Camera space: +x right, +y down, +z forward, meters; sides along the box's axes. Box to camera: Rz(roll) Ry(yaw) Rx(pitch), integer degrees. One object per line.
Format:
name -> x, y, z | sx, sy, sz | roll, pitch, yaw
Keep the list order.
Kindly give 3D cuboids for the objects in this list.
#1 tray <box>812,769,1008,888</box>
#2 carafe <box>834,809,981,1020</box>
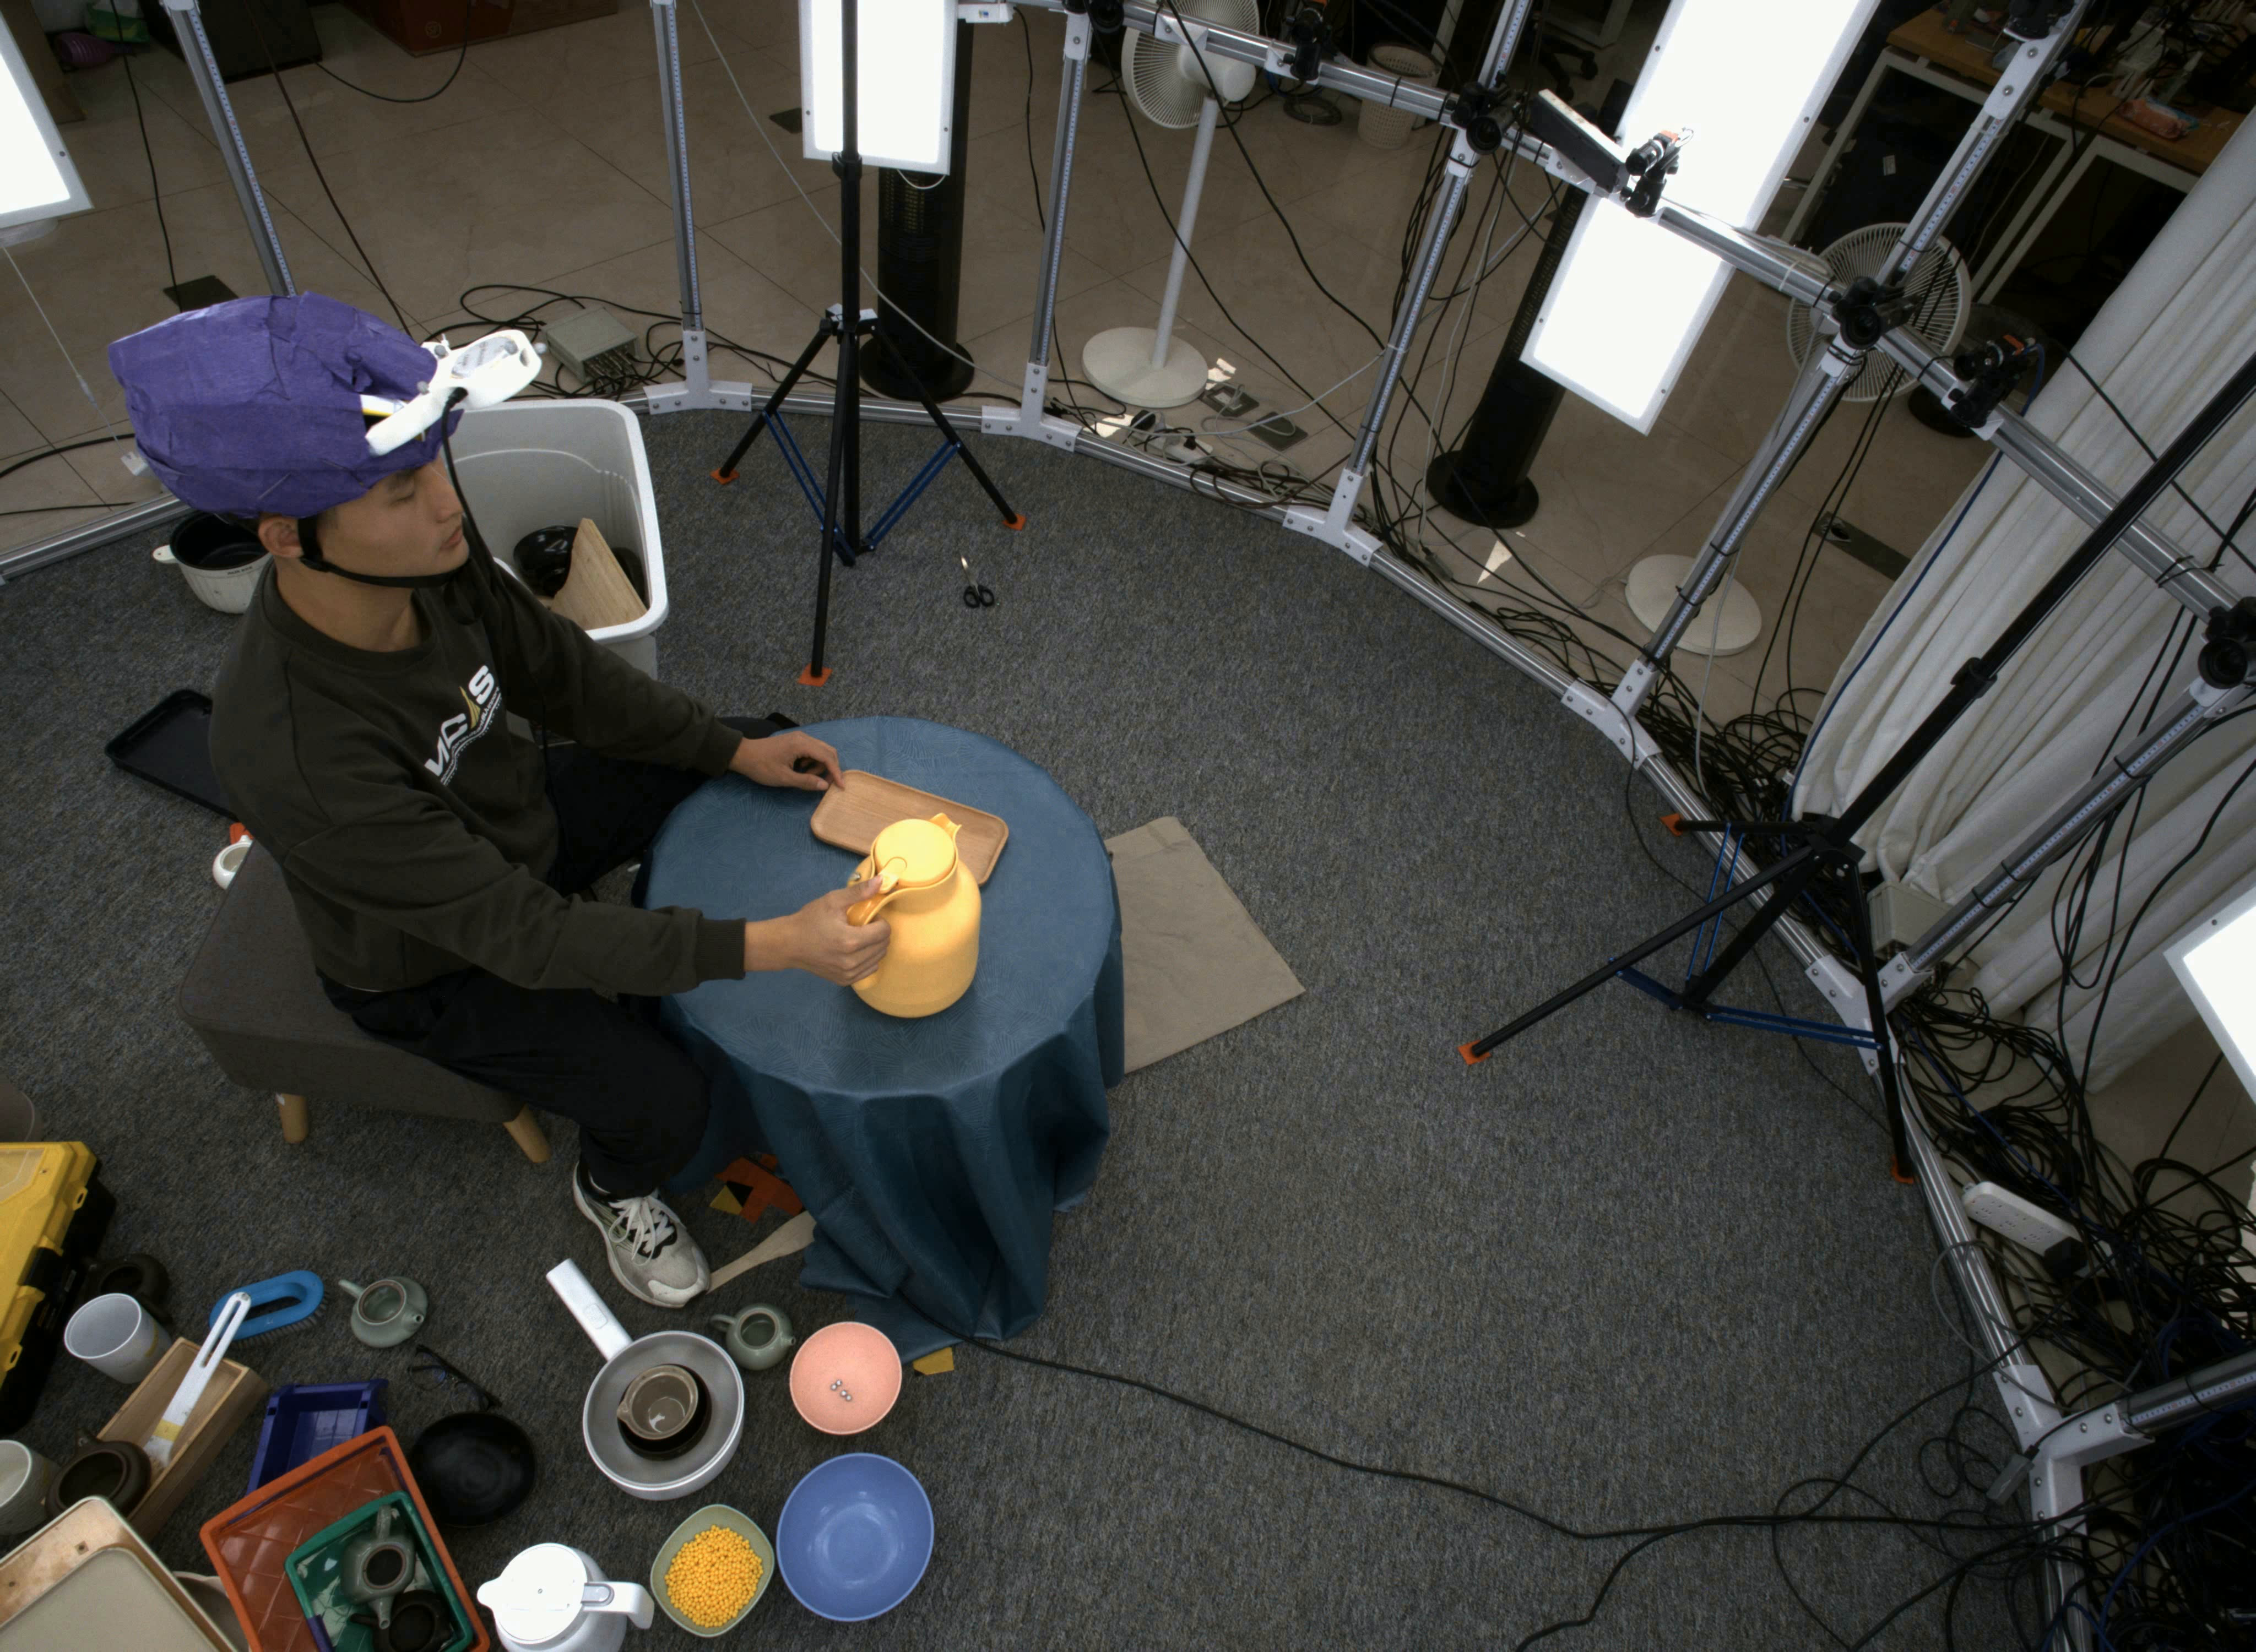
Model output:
tray -> -0.292, 0.004, 1.753 | 0.248, 0.023, 0.129 | 19, 49, 2
carafe -> -0.266, 0.111, 1.521 | 0.159, 0.267, 0.202 | 31, 52, 17
